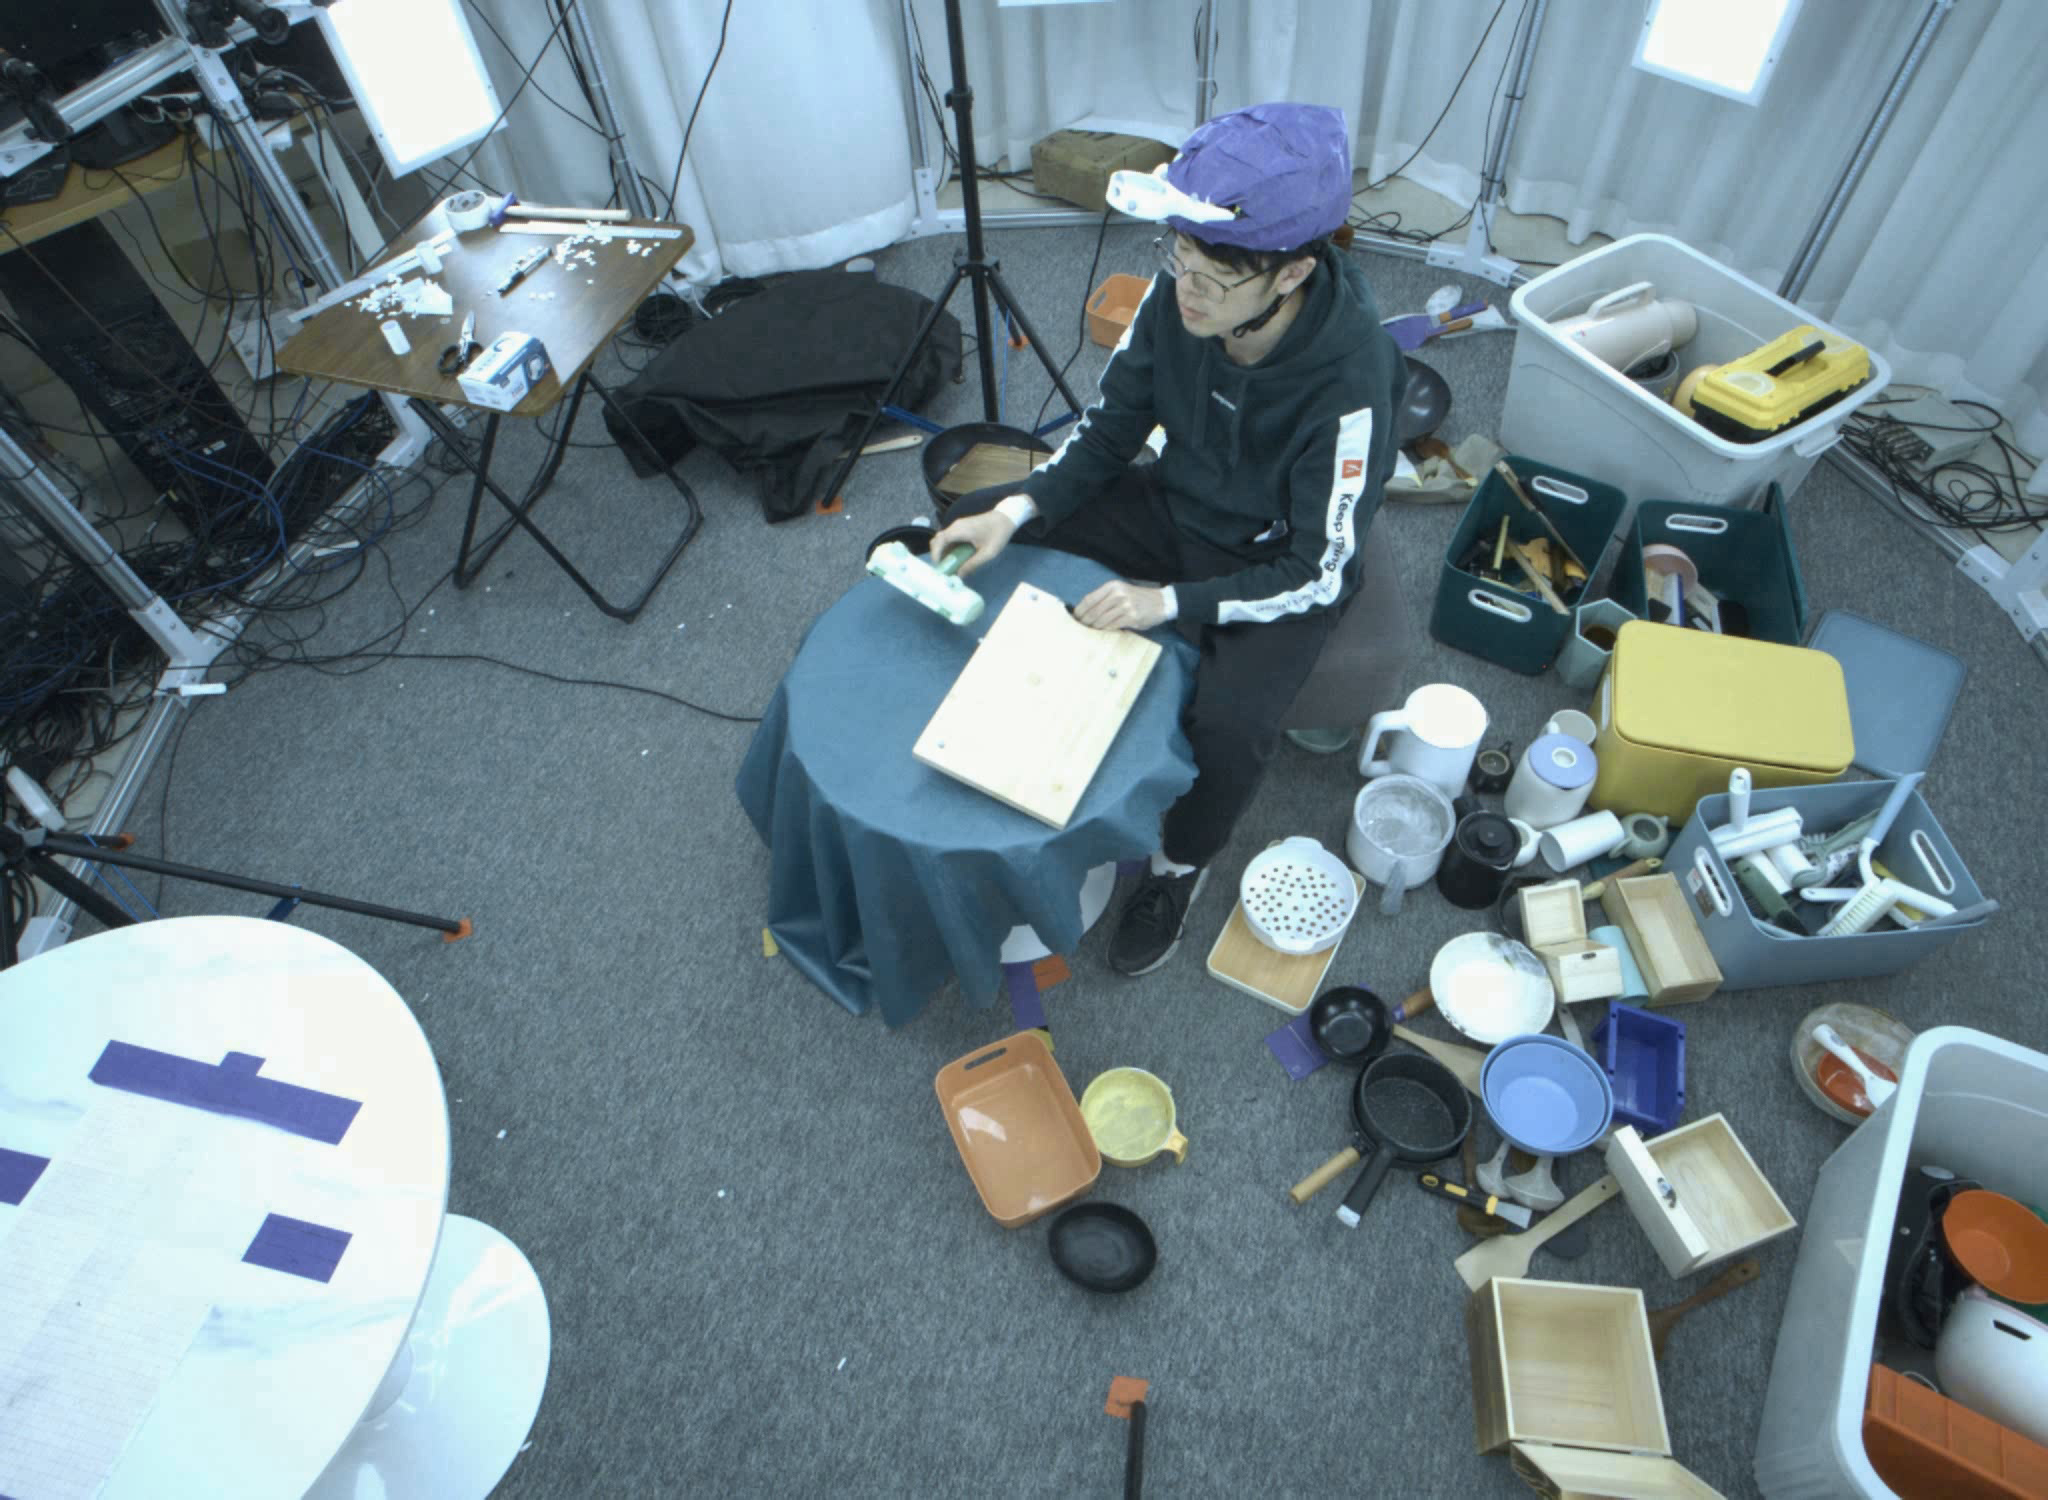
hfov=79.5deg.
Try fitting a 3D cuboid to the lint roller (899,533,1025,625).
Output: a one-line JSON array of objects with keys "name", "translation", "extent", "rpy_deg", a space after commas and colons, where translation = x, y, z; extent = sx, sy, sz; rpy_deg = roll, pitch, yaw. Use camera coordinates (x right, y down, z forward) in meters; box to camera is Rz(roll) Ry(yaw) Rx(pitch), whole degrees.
[{"name": "lint roller", "translation": [-0.065, -0.296, 1.892], "extent": [0.195, 0.083, 0.184], "rpy_deg": [34, 67, 23]}]

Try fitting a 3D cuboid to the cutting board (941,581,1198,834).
[{"name": "cutting board", "translation": [0.070, -0.070, 1.782], "extent": [0.249, 0.023, 0.349], "rpy_deg": [28, 63, 6]}]
